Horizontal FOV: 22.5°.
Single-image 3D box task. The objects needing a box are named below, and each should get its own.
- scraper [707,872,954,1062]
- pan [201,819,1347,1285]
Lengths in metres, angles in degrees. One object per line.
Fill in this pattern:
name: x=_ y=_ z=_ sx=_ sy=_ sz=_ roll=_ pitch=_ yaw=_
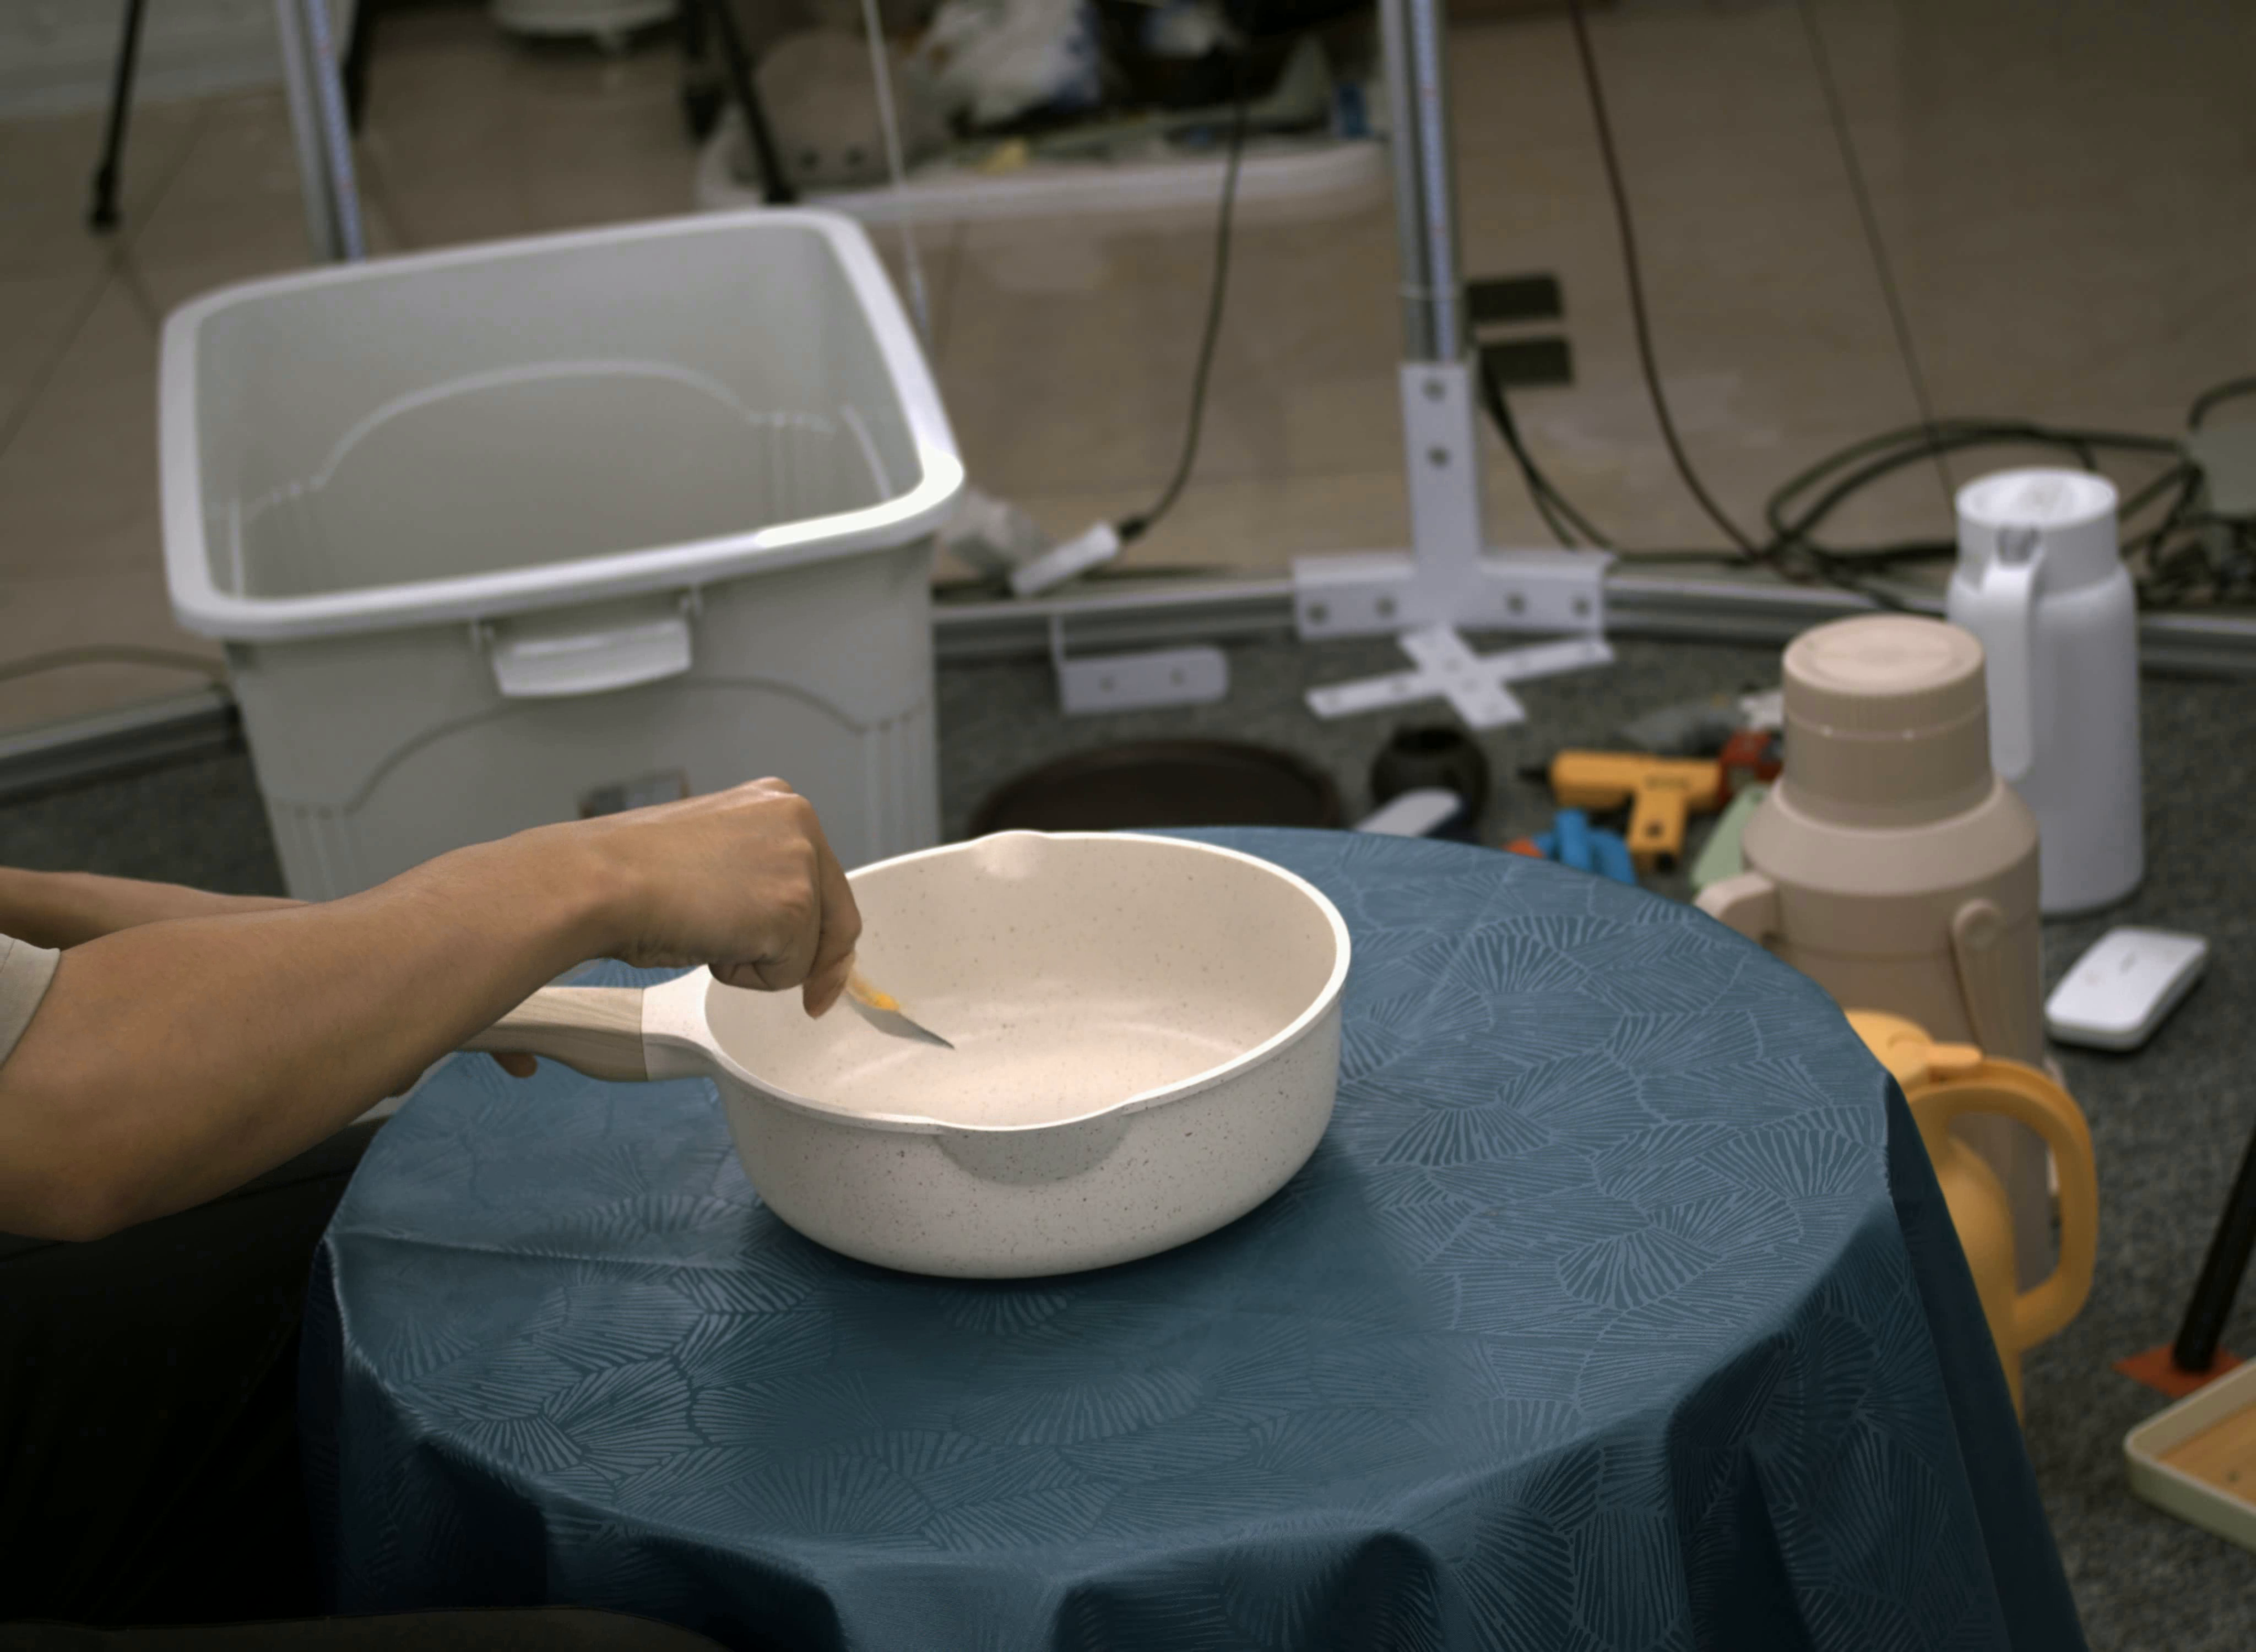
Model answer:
scraper: x=-0.111 y=0.053 z=2.100 sx=0.038 sy=0.173 sz=0.015 roll=25 pitch=80 yaw=29
pan: x=-0.130 y=0.094 z=2.166 sx=0.434 sy=0.104 sz=0.259 roll=-7 pitch=27 yaw=-1
